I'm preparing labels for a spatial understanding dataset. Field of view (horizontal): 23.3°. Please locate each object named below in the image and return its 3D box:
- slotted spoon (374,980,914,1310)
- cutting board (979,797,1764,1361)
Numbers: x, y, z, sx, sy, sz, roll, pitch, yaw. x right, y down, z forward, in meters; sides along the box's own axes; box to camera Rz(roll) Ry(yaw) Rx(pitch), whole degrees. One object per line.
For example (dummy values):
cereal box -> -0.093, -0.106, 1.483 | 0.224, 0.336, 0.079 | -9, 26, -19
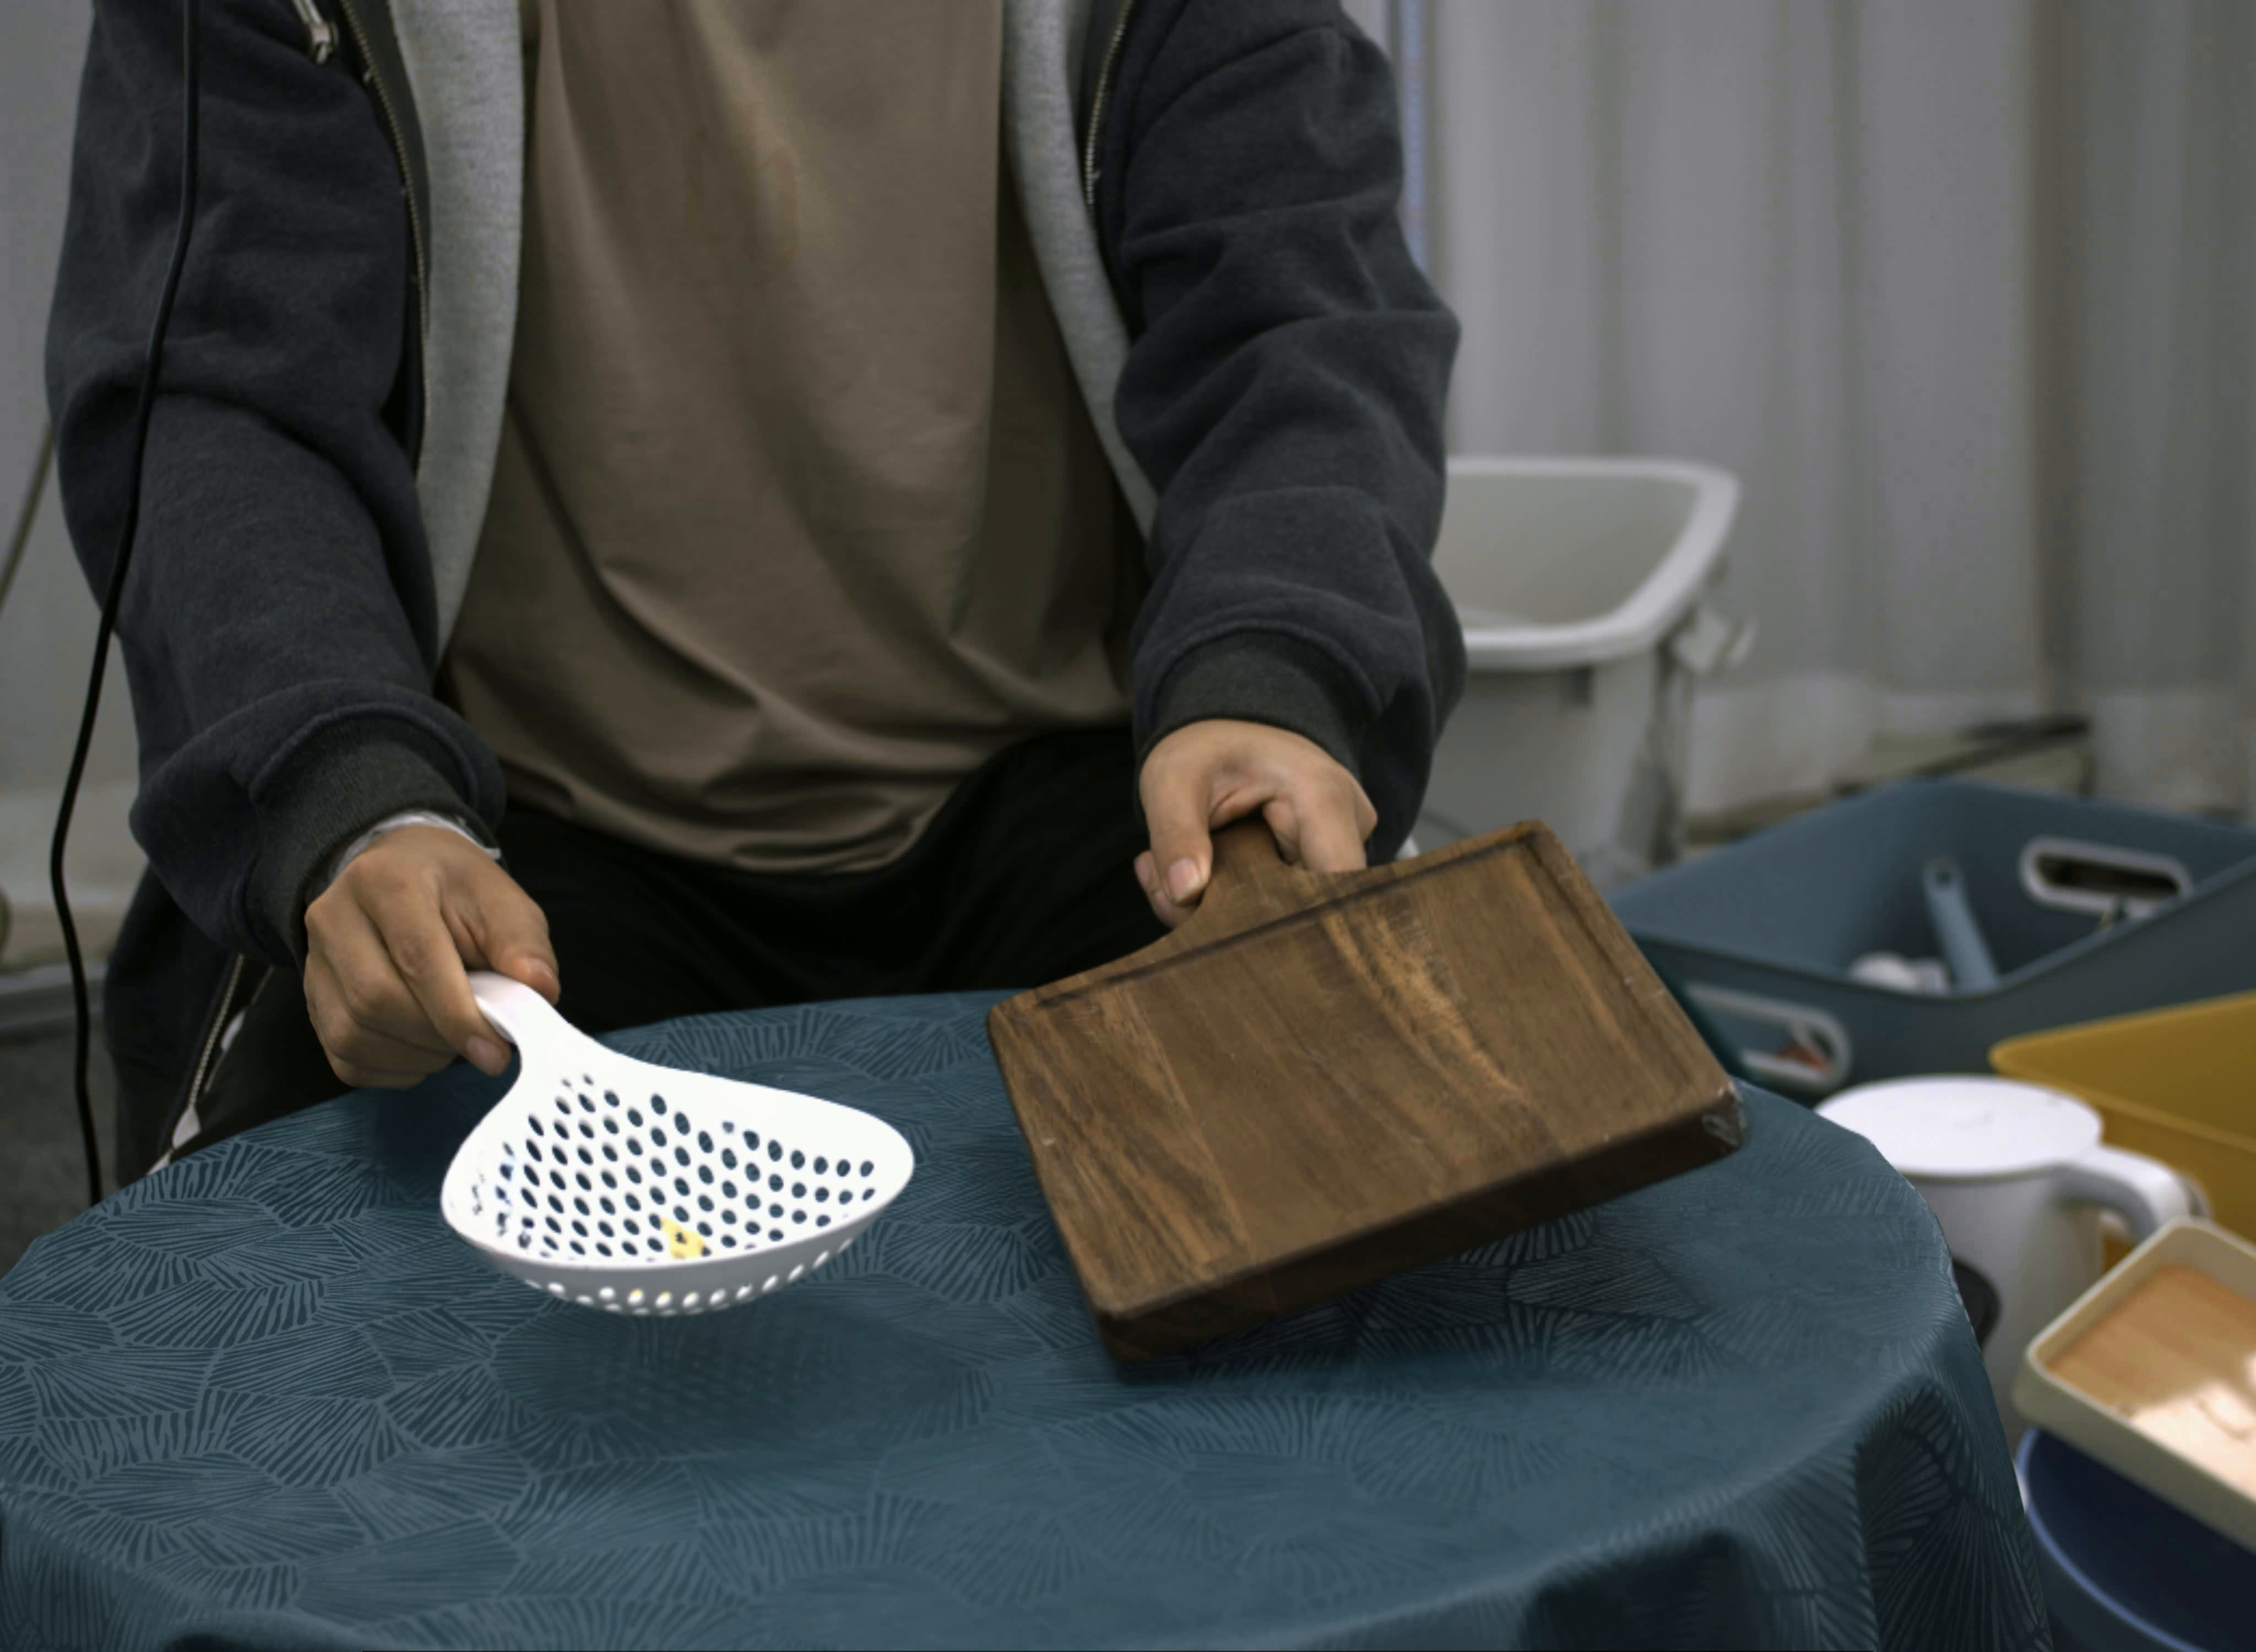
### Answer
slotted spoon -> -0.172, 0.083, 1.672 | 0.136, 0.050, 0.351 | -13, 22, -20
cutting board -> 0.059, 0.057, 1.710 | 0.200, 0.023, 0.355 | -19, 21, -3
